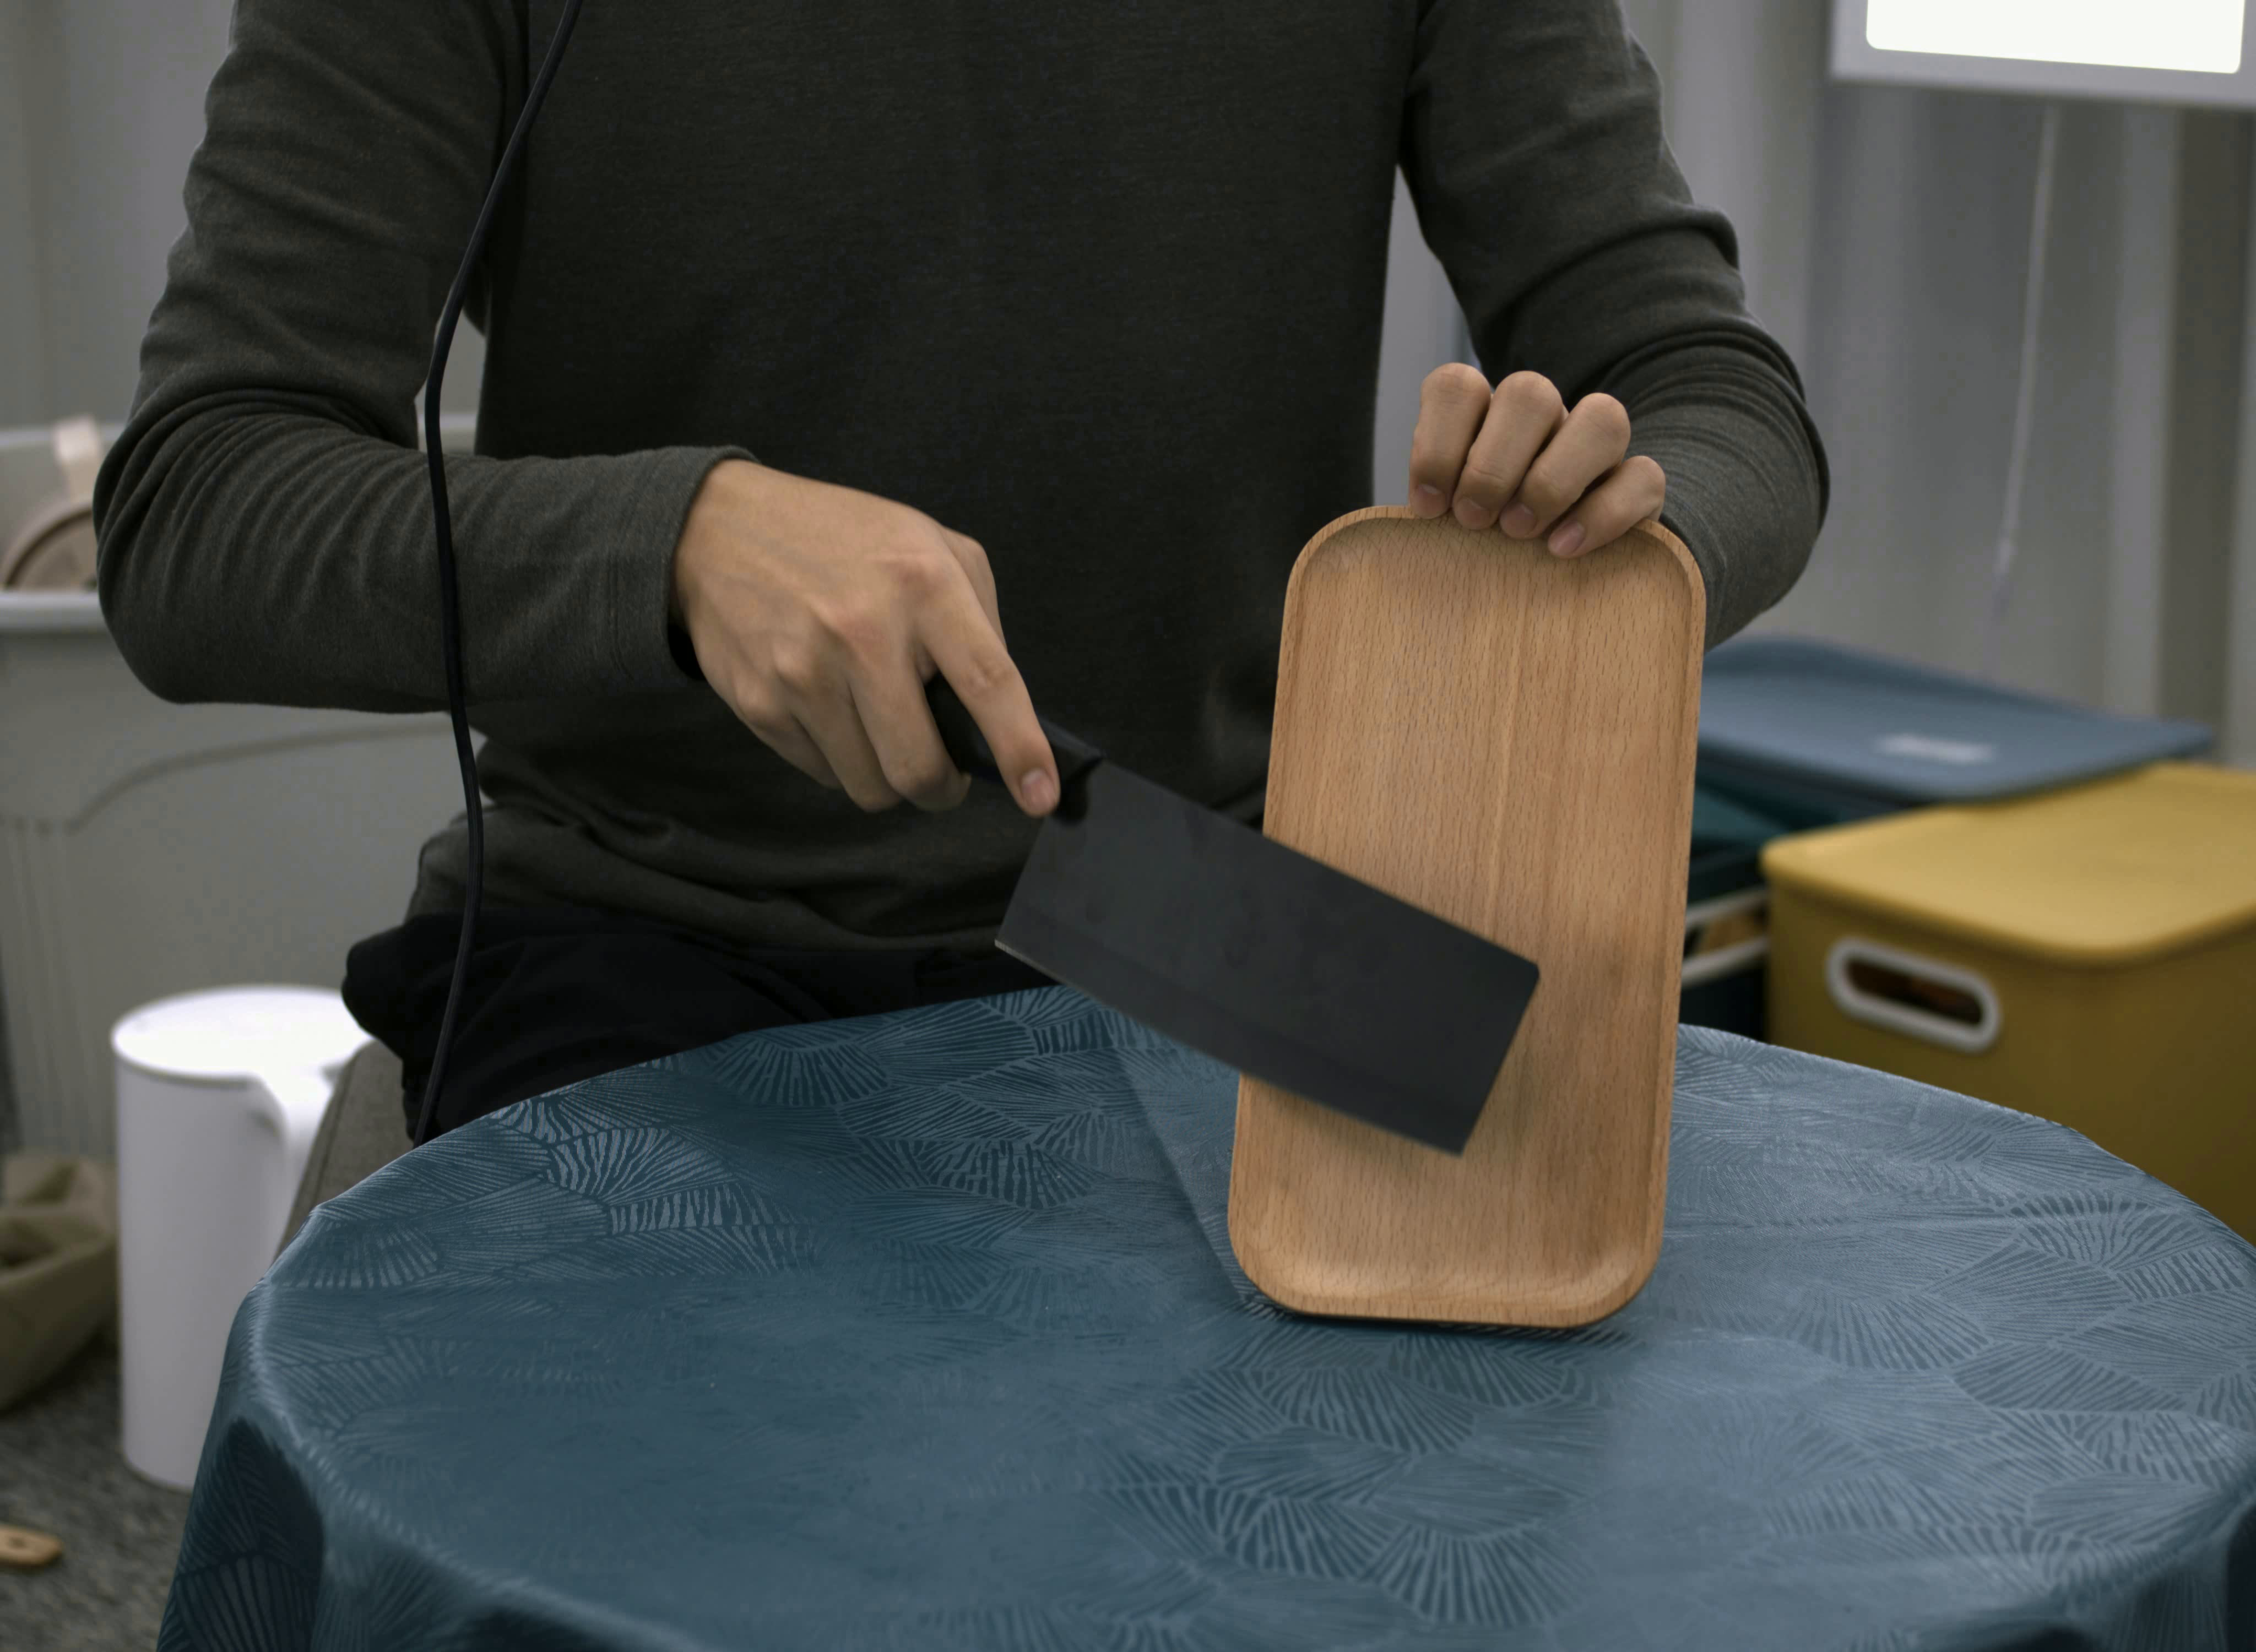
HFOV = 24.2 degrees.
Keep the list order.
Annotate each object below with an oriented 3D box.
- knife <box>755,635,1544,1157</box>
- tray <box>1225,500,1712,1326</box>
[{"bbox_3d":[-0.003,0.014,1.572,0.298,0.081,0.021,30,5,33],"label":"knife"},{"bbox_3d":[0.101,0.023,1.549,0.130,0.250,0.023,4,-18,10],"label":"tray"}]
